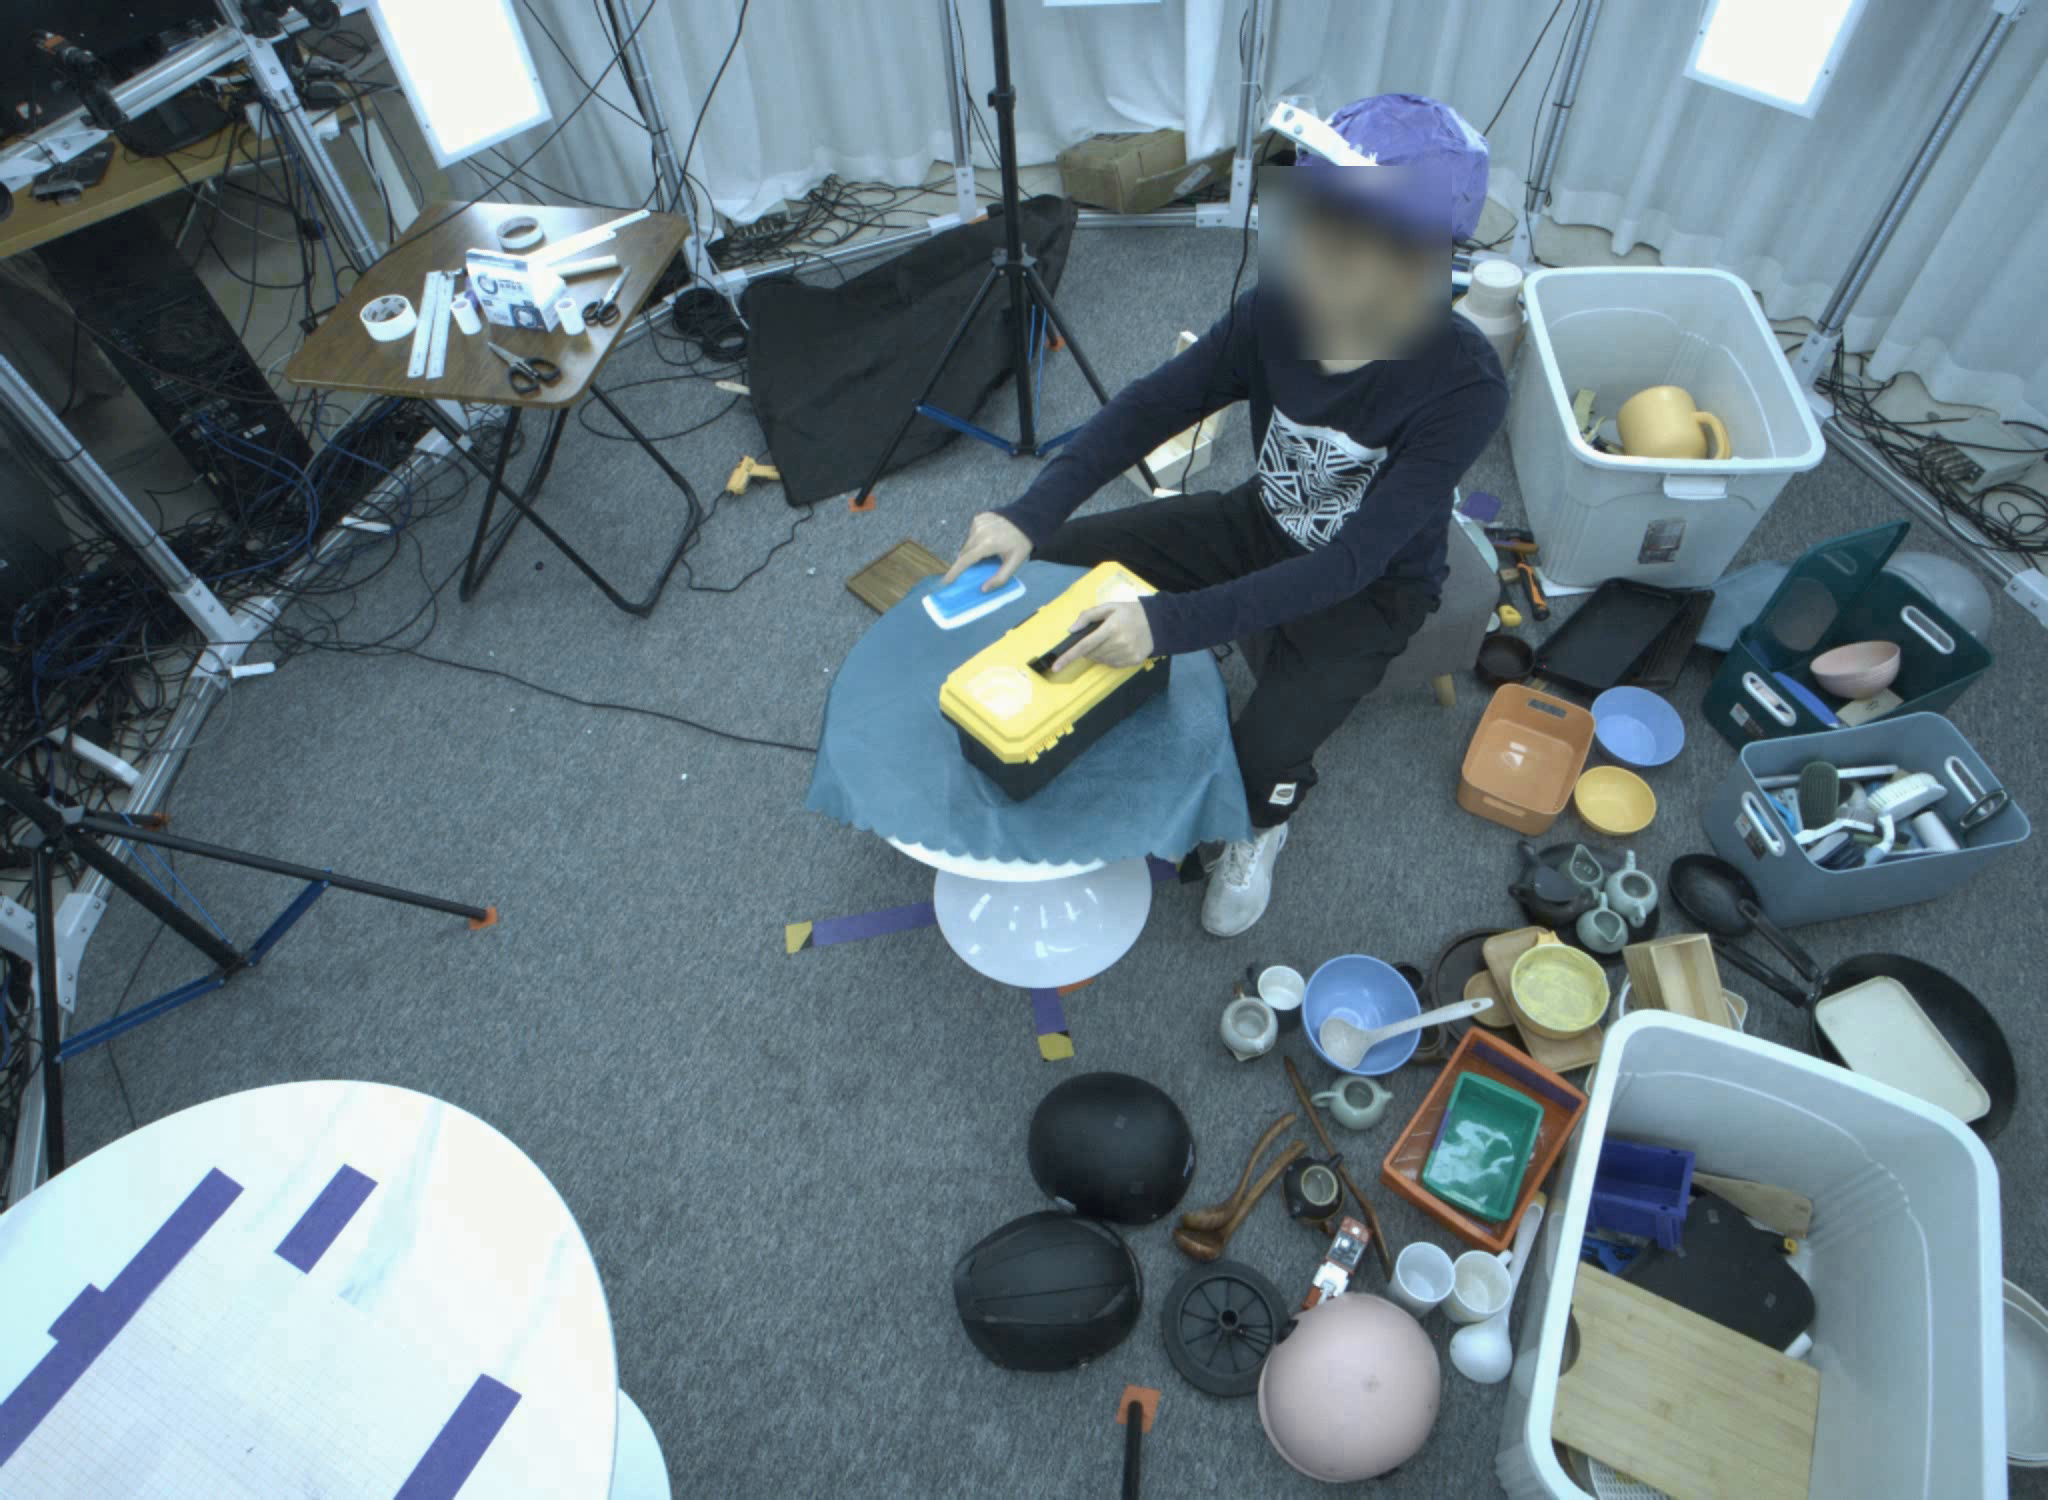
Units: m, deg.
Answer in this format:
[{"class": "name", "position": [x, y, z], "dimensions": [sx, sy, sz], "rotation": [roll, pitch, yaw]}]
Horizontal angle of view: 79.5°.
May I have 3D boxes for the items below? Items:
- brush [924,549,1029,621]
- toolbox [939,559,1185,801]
[{"class": "brush", "position": [-0.069, -0.242, 1.741], "dimensions": [0.145, 0.056, 0.082], "rotation": [-26, 55, -13]}, {"class": "toolbox", "position": [0.058, -0.100, 1.741], "dimensions": [0.354, 0.174, 0.178], "rotation": [-39, 62, -22]}]
